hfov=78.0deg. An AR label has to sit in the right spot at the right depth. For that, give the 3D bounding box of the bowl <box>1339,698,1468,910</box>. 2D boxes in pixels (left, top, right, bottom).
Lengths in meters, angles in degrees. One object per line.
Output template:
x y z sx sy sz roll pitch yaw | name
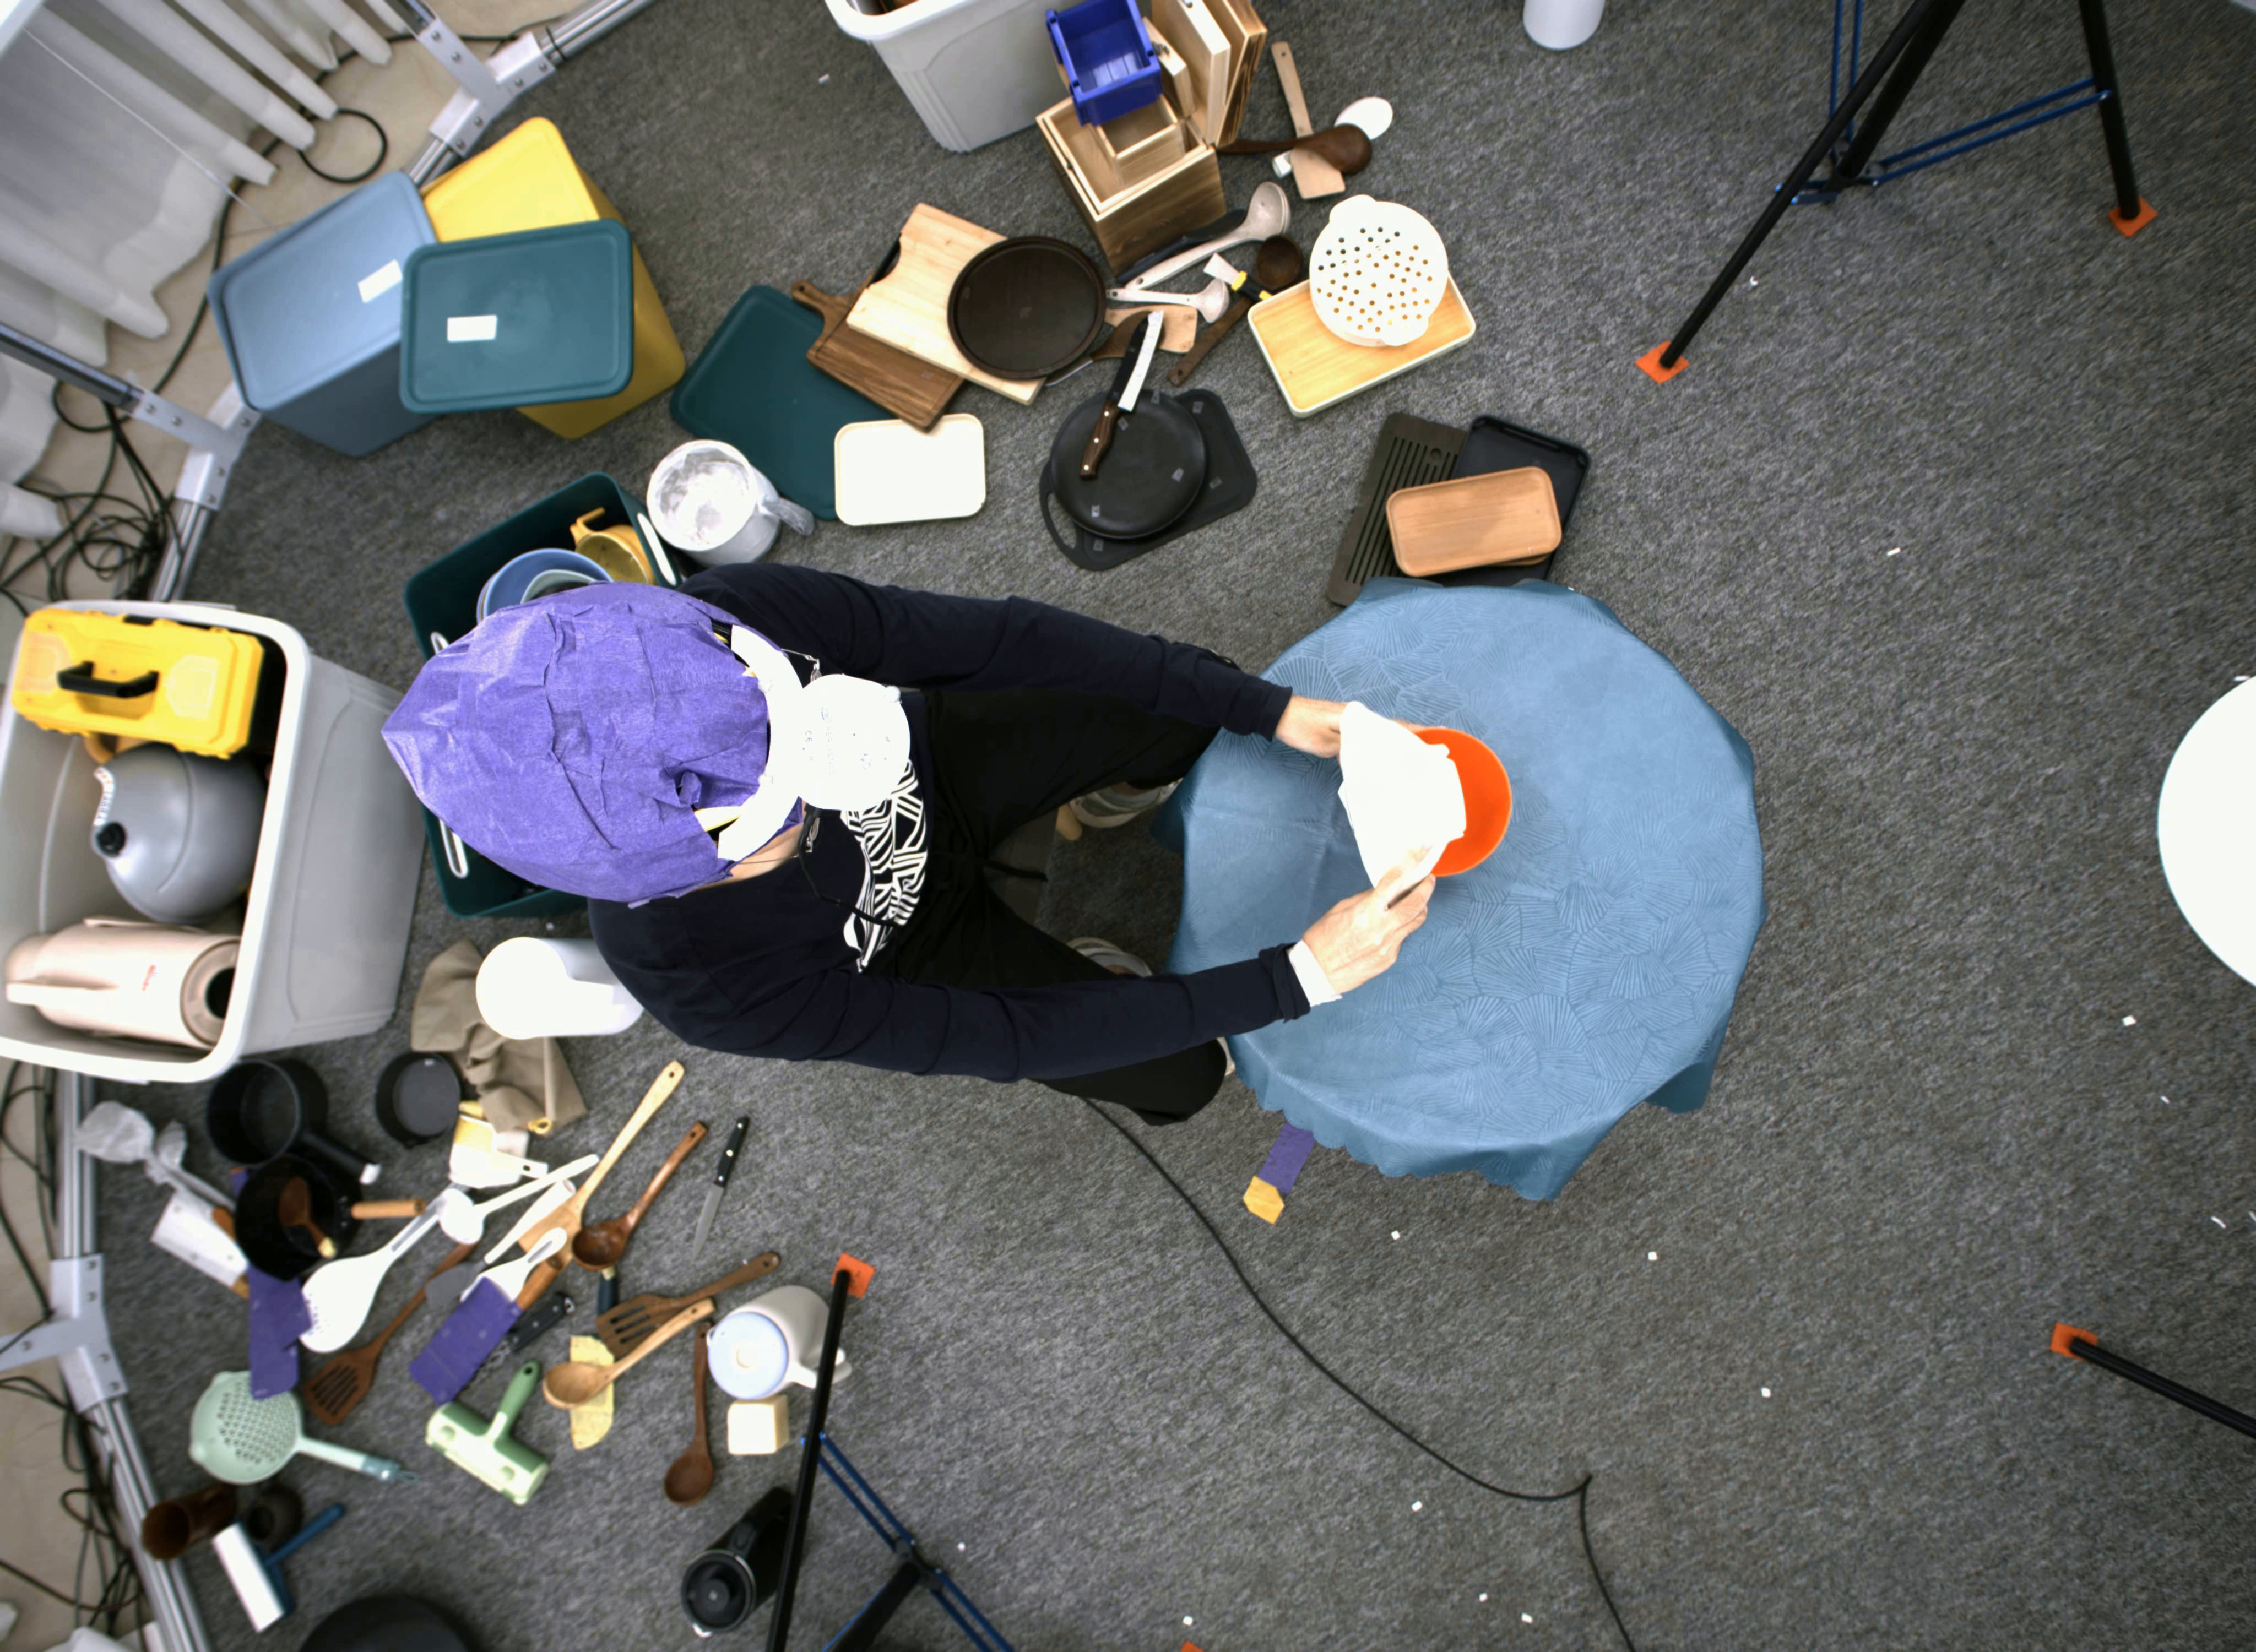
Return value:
0.267 -0.029 1.283 0.079 0.203 0.203 -12 83 25 | bowl

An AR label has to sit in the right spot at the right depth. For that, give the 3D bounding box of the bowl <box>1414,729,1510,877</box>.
0.313 -0.023 1.405 0.149 0.104 0.148 0 89 13 | bowl
